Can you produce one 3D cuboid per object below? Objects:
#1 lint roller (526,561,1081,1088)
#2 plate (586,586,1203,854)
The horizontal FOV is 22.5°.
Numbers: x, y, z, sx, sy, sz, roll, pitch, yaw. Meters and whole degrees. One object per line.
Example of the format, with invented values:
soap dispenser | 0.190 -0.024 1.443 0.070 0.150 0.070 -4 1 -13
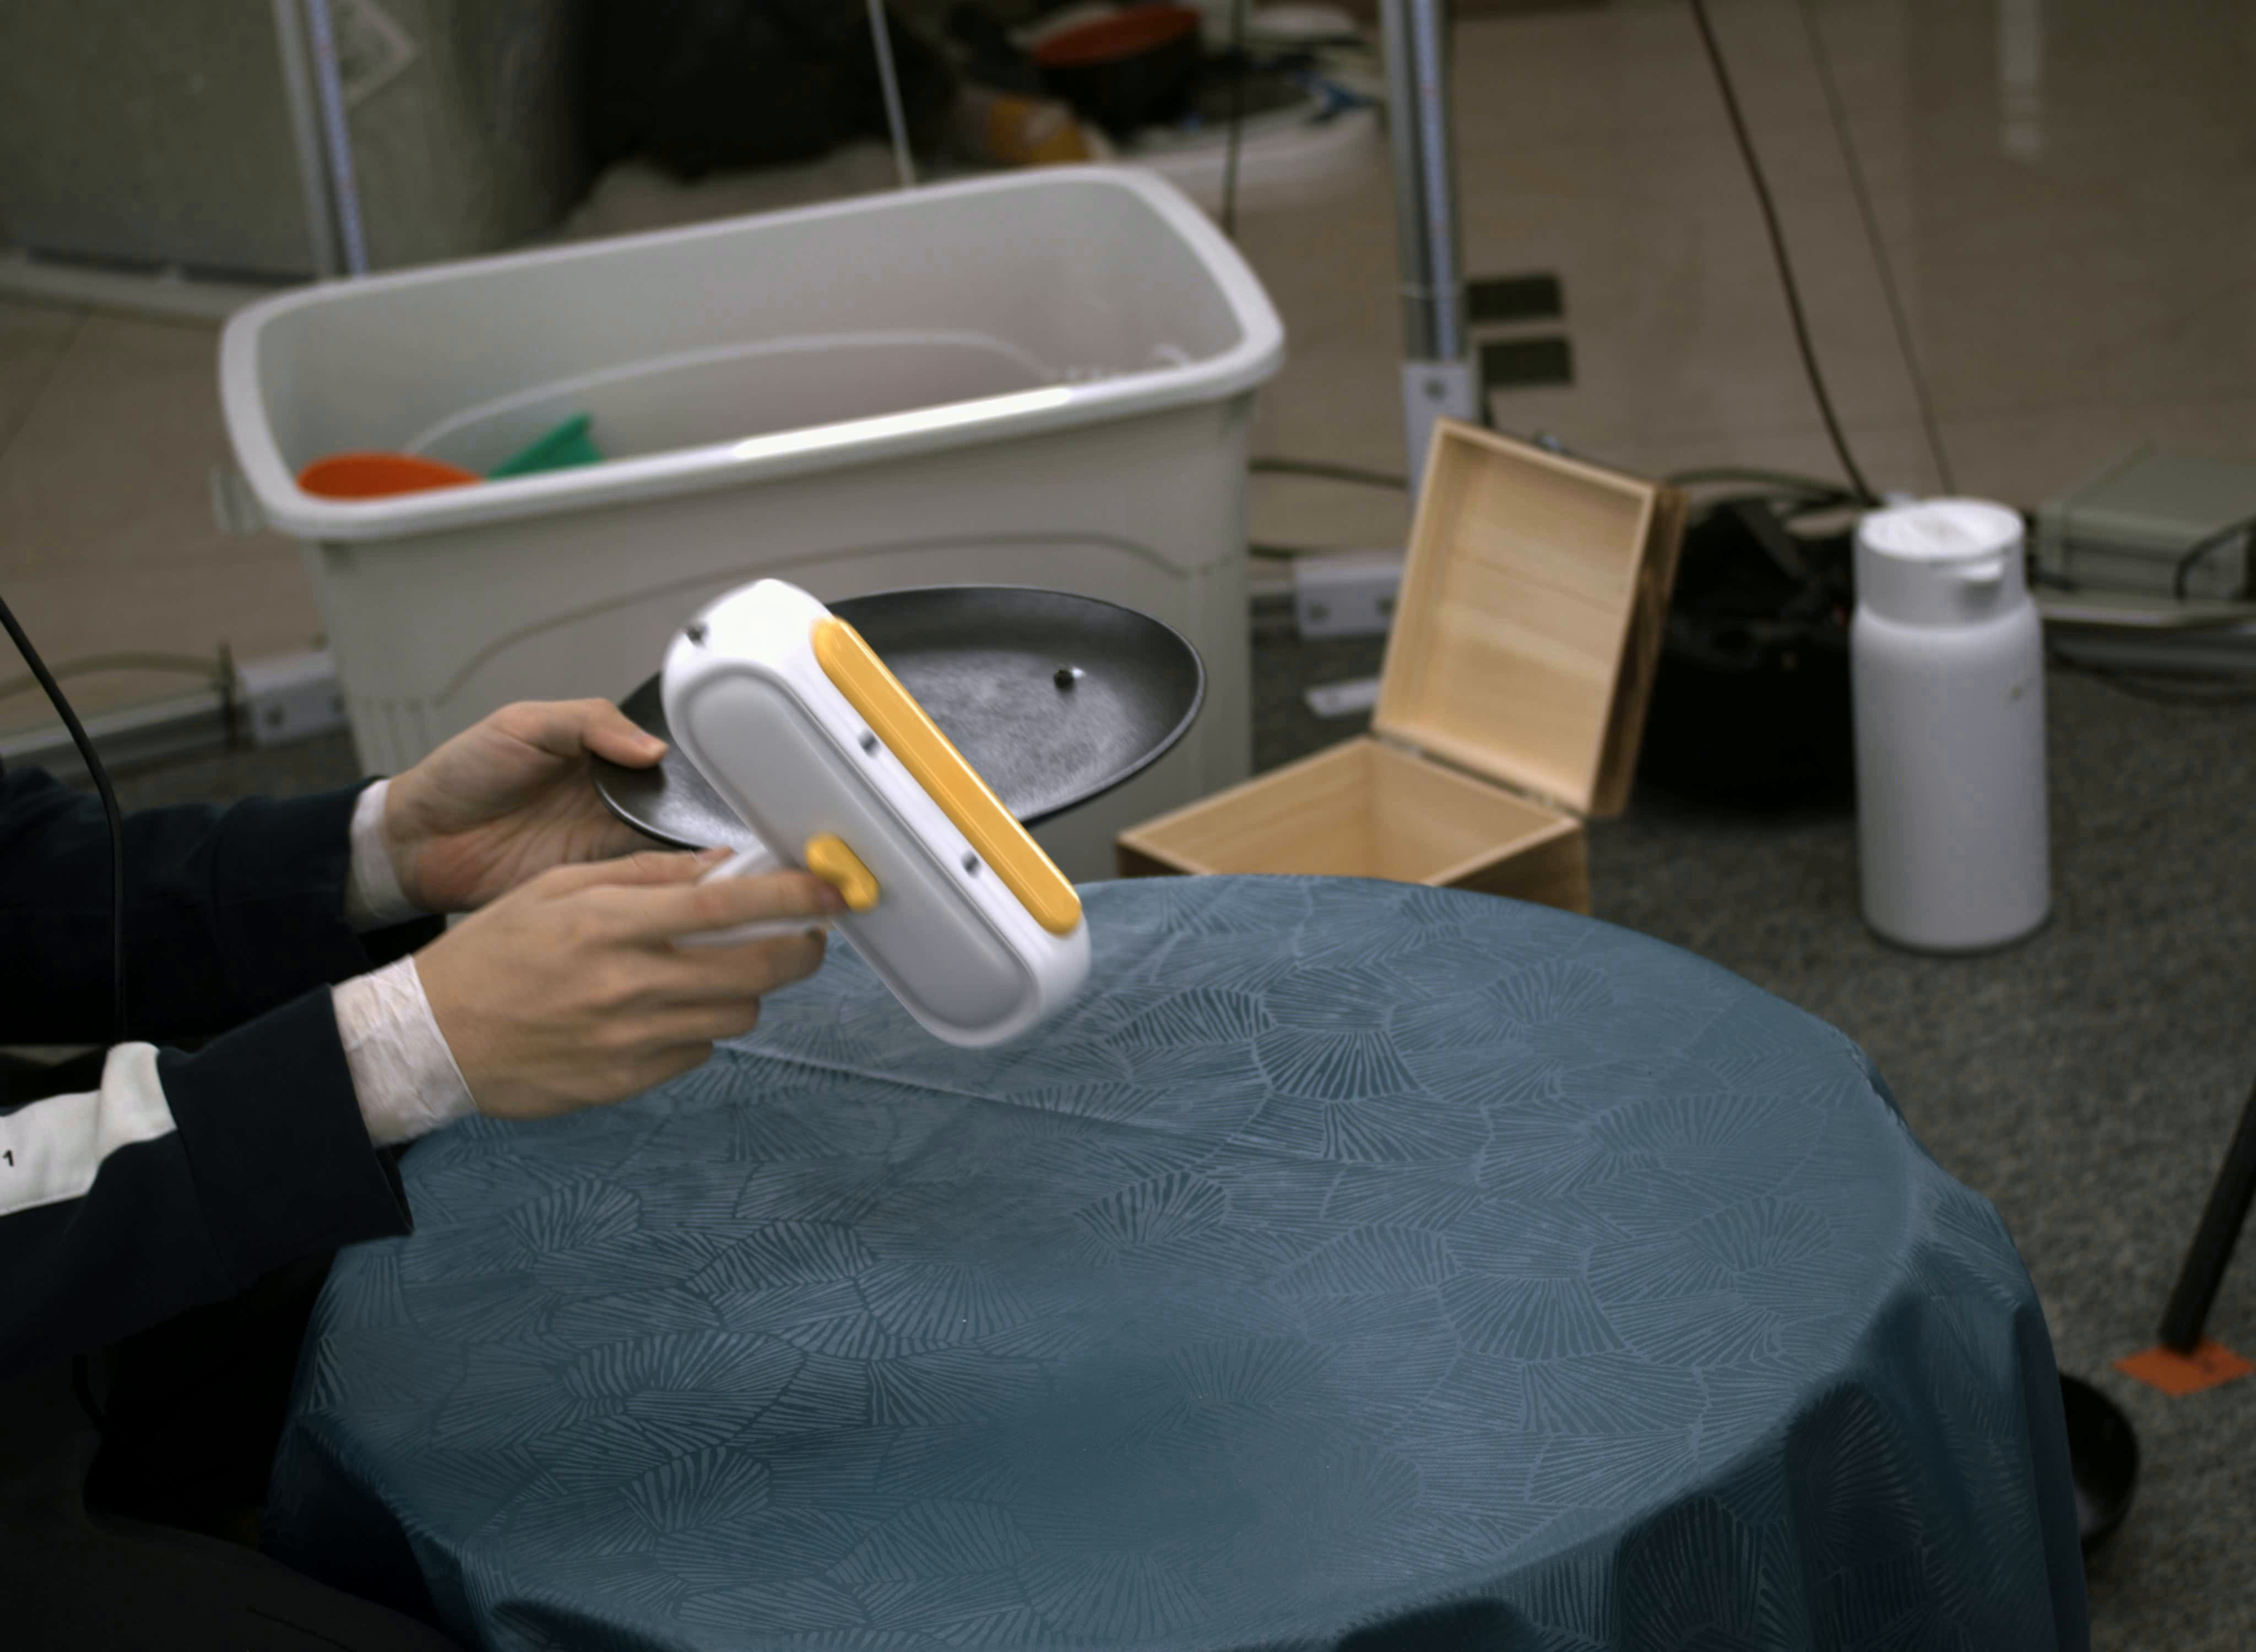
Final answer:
lint roller | -0.138 0.024 2.015 0.194 0.194 0.073 -36 22 28
plate | -0.090 -0.036 2.205 0.244 0.024 0.241 -7 26 3
